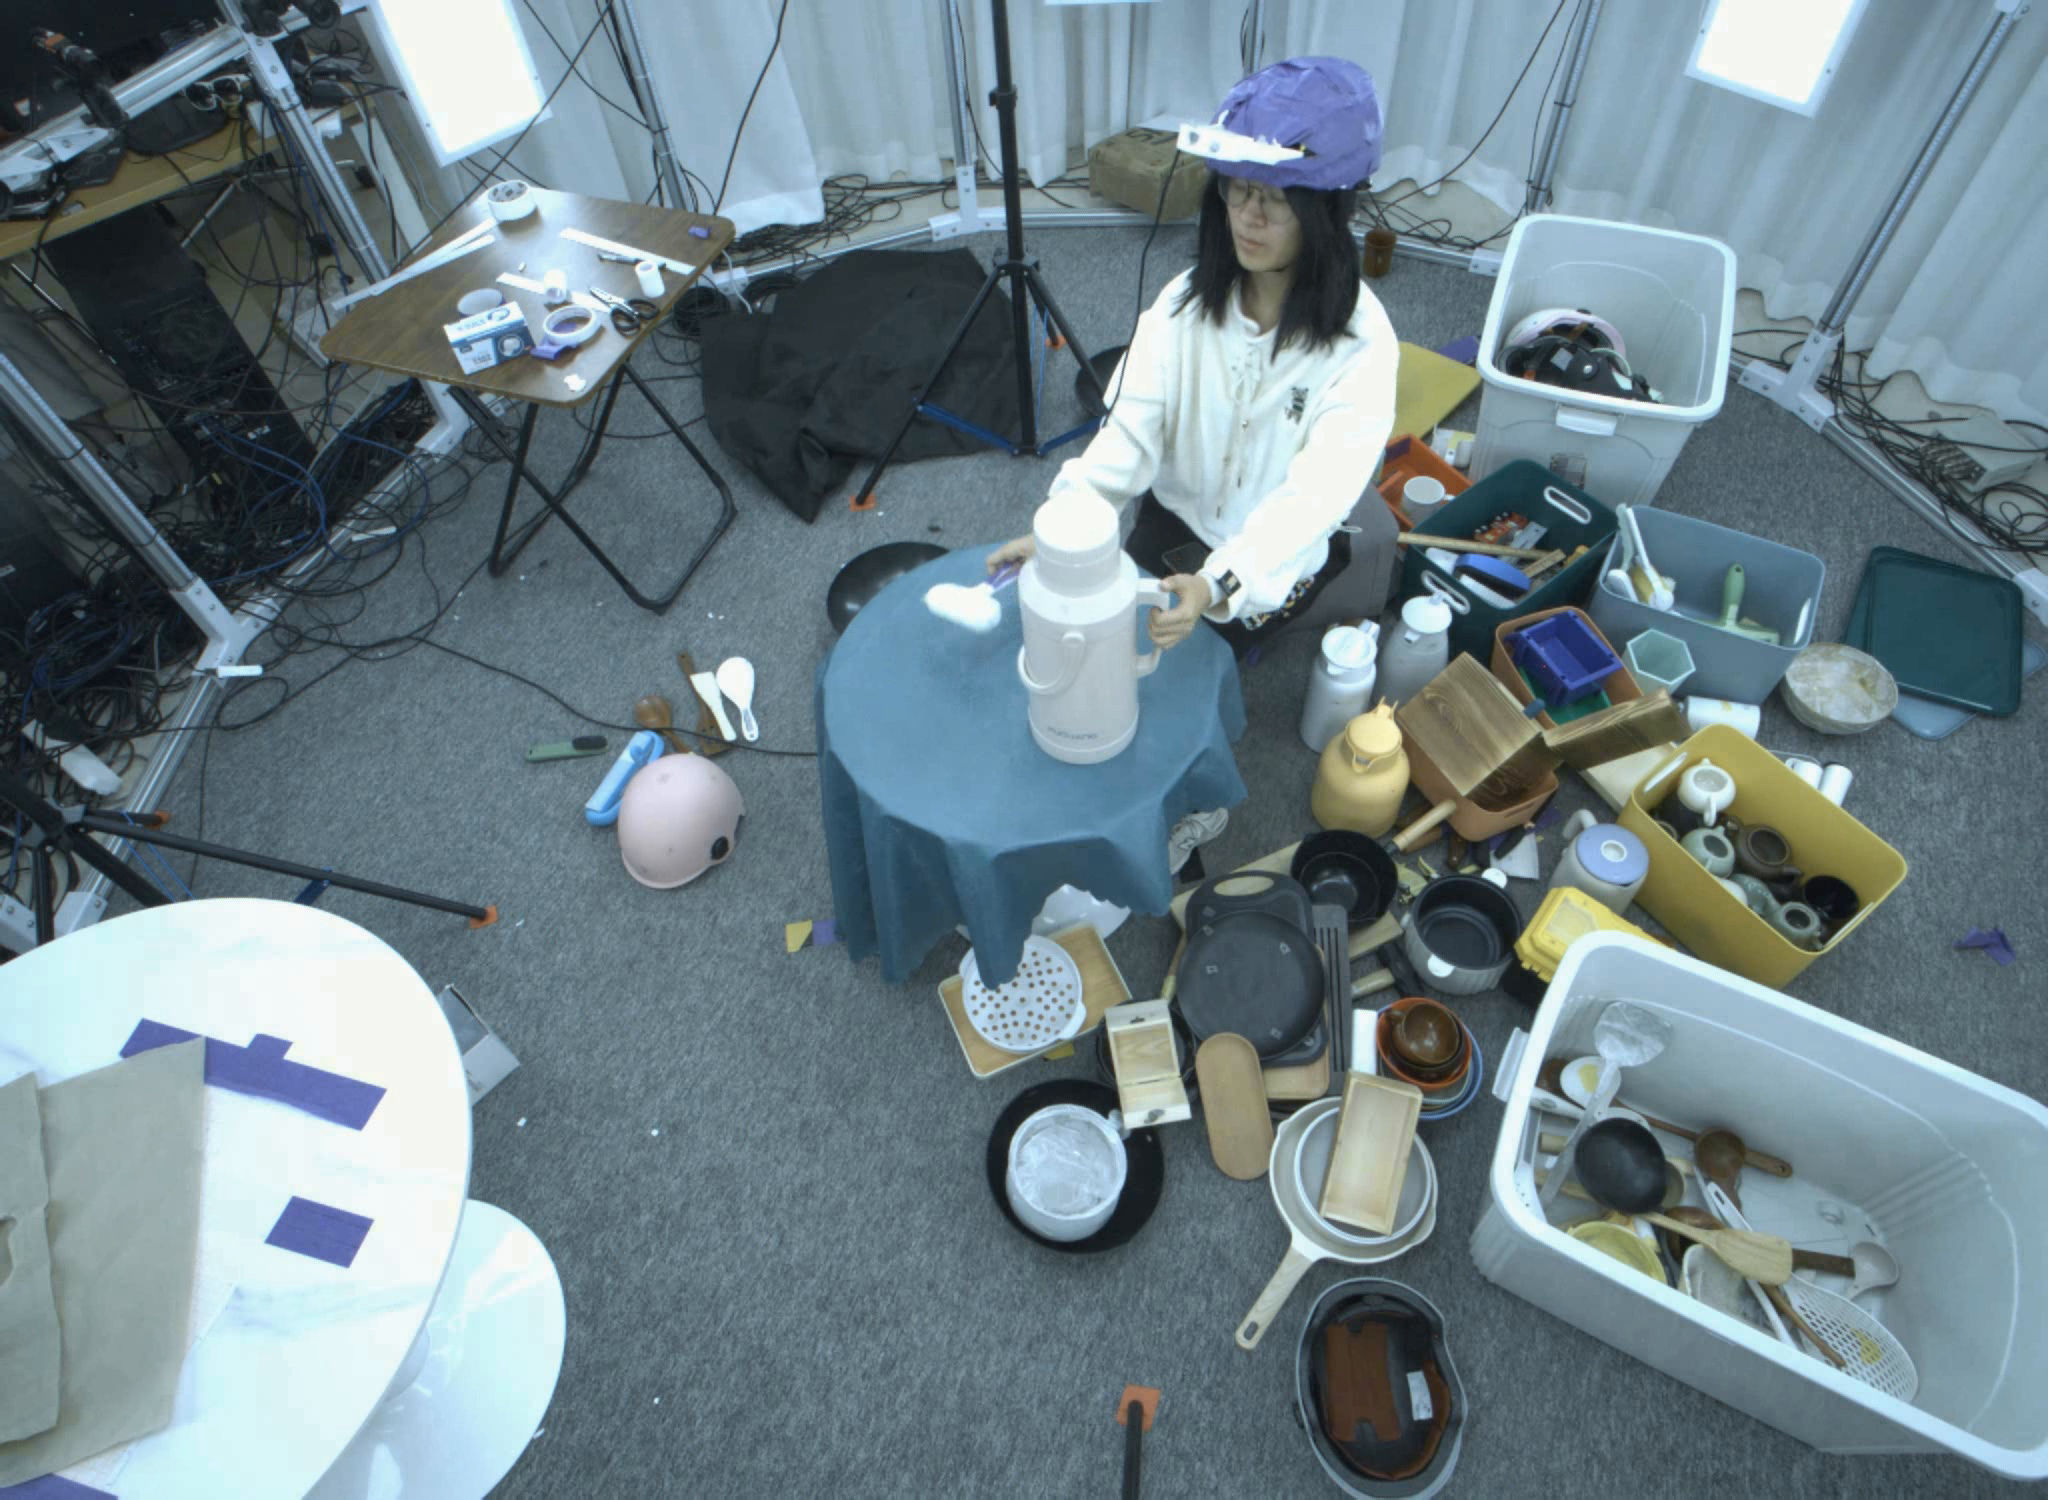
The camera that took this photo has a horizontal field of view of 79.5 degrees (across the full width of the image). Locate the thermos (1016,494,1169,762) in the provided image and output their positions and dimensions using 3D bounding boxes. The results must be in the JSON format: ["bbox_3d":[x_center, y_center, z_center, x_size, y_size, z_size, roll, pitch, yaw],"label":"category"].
[{"bbox_3d":[0.088,-0.158,1.652,0.206,0.411,0.174,2,54,5],"label":"thermos"}]

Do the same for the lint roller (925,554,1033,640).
[{"bbox_3d":[-0.052,-0.247,1.850,0.130,0.051,0.181,31,70,36],"label":"lint roller"}]
